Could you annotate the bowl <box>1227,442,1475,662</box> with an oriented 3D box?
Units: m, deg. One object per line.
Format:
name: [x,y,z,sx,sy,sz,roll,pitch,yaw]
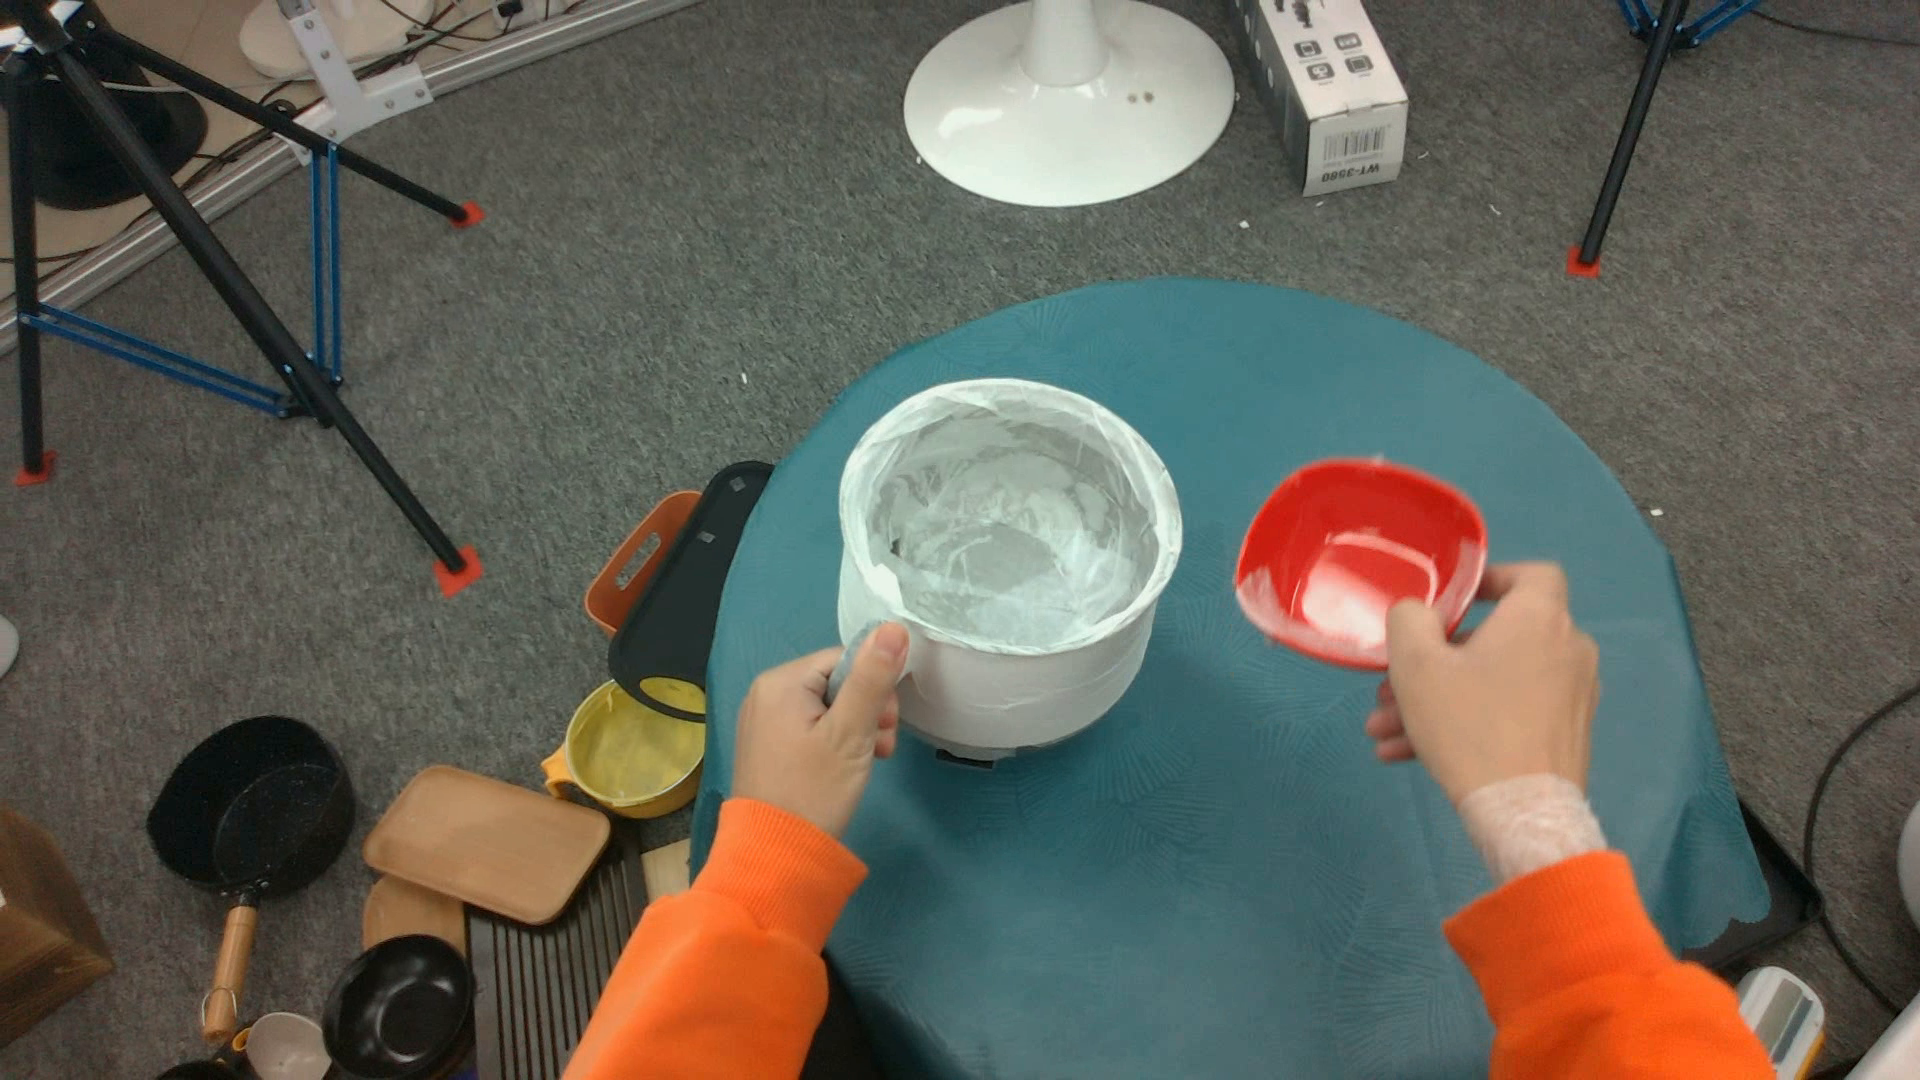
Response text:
bowl: [0.193,0.013,0.678,0.119,0.051,0.119,-9,59,15]

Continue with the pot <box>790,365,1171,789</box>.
pot: [-0.001,0.029,0.739,0.179,0.136,0.235,34,58,18]
